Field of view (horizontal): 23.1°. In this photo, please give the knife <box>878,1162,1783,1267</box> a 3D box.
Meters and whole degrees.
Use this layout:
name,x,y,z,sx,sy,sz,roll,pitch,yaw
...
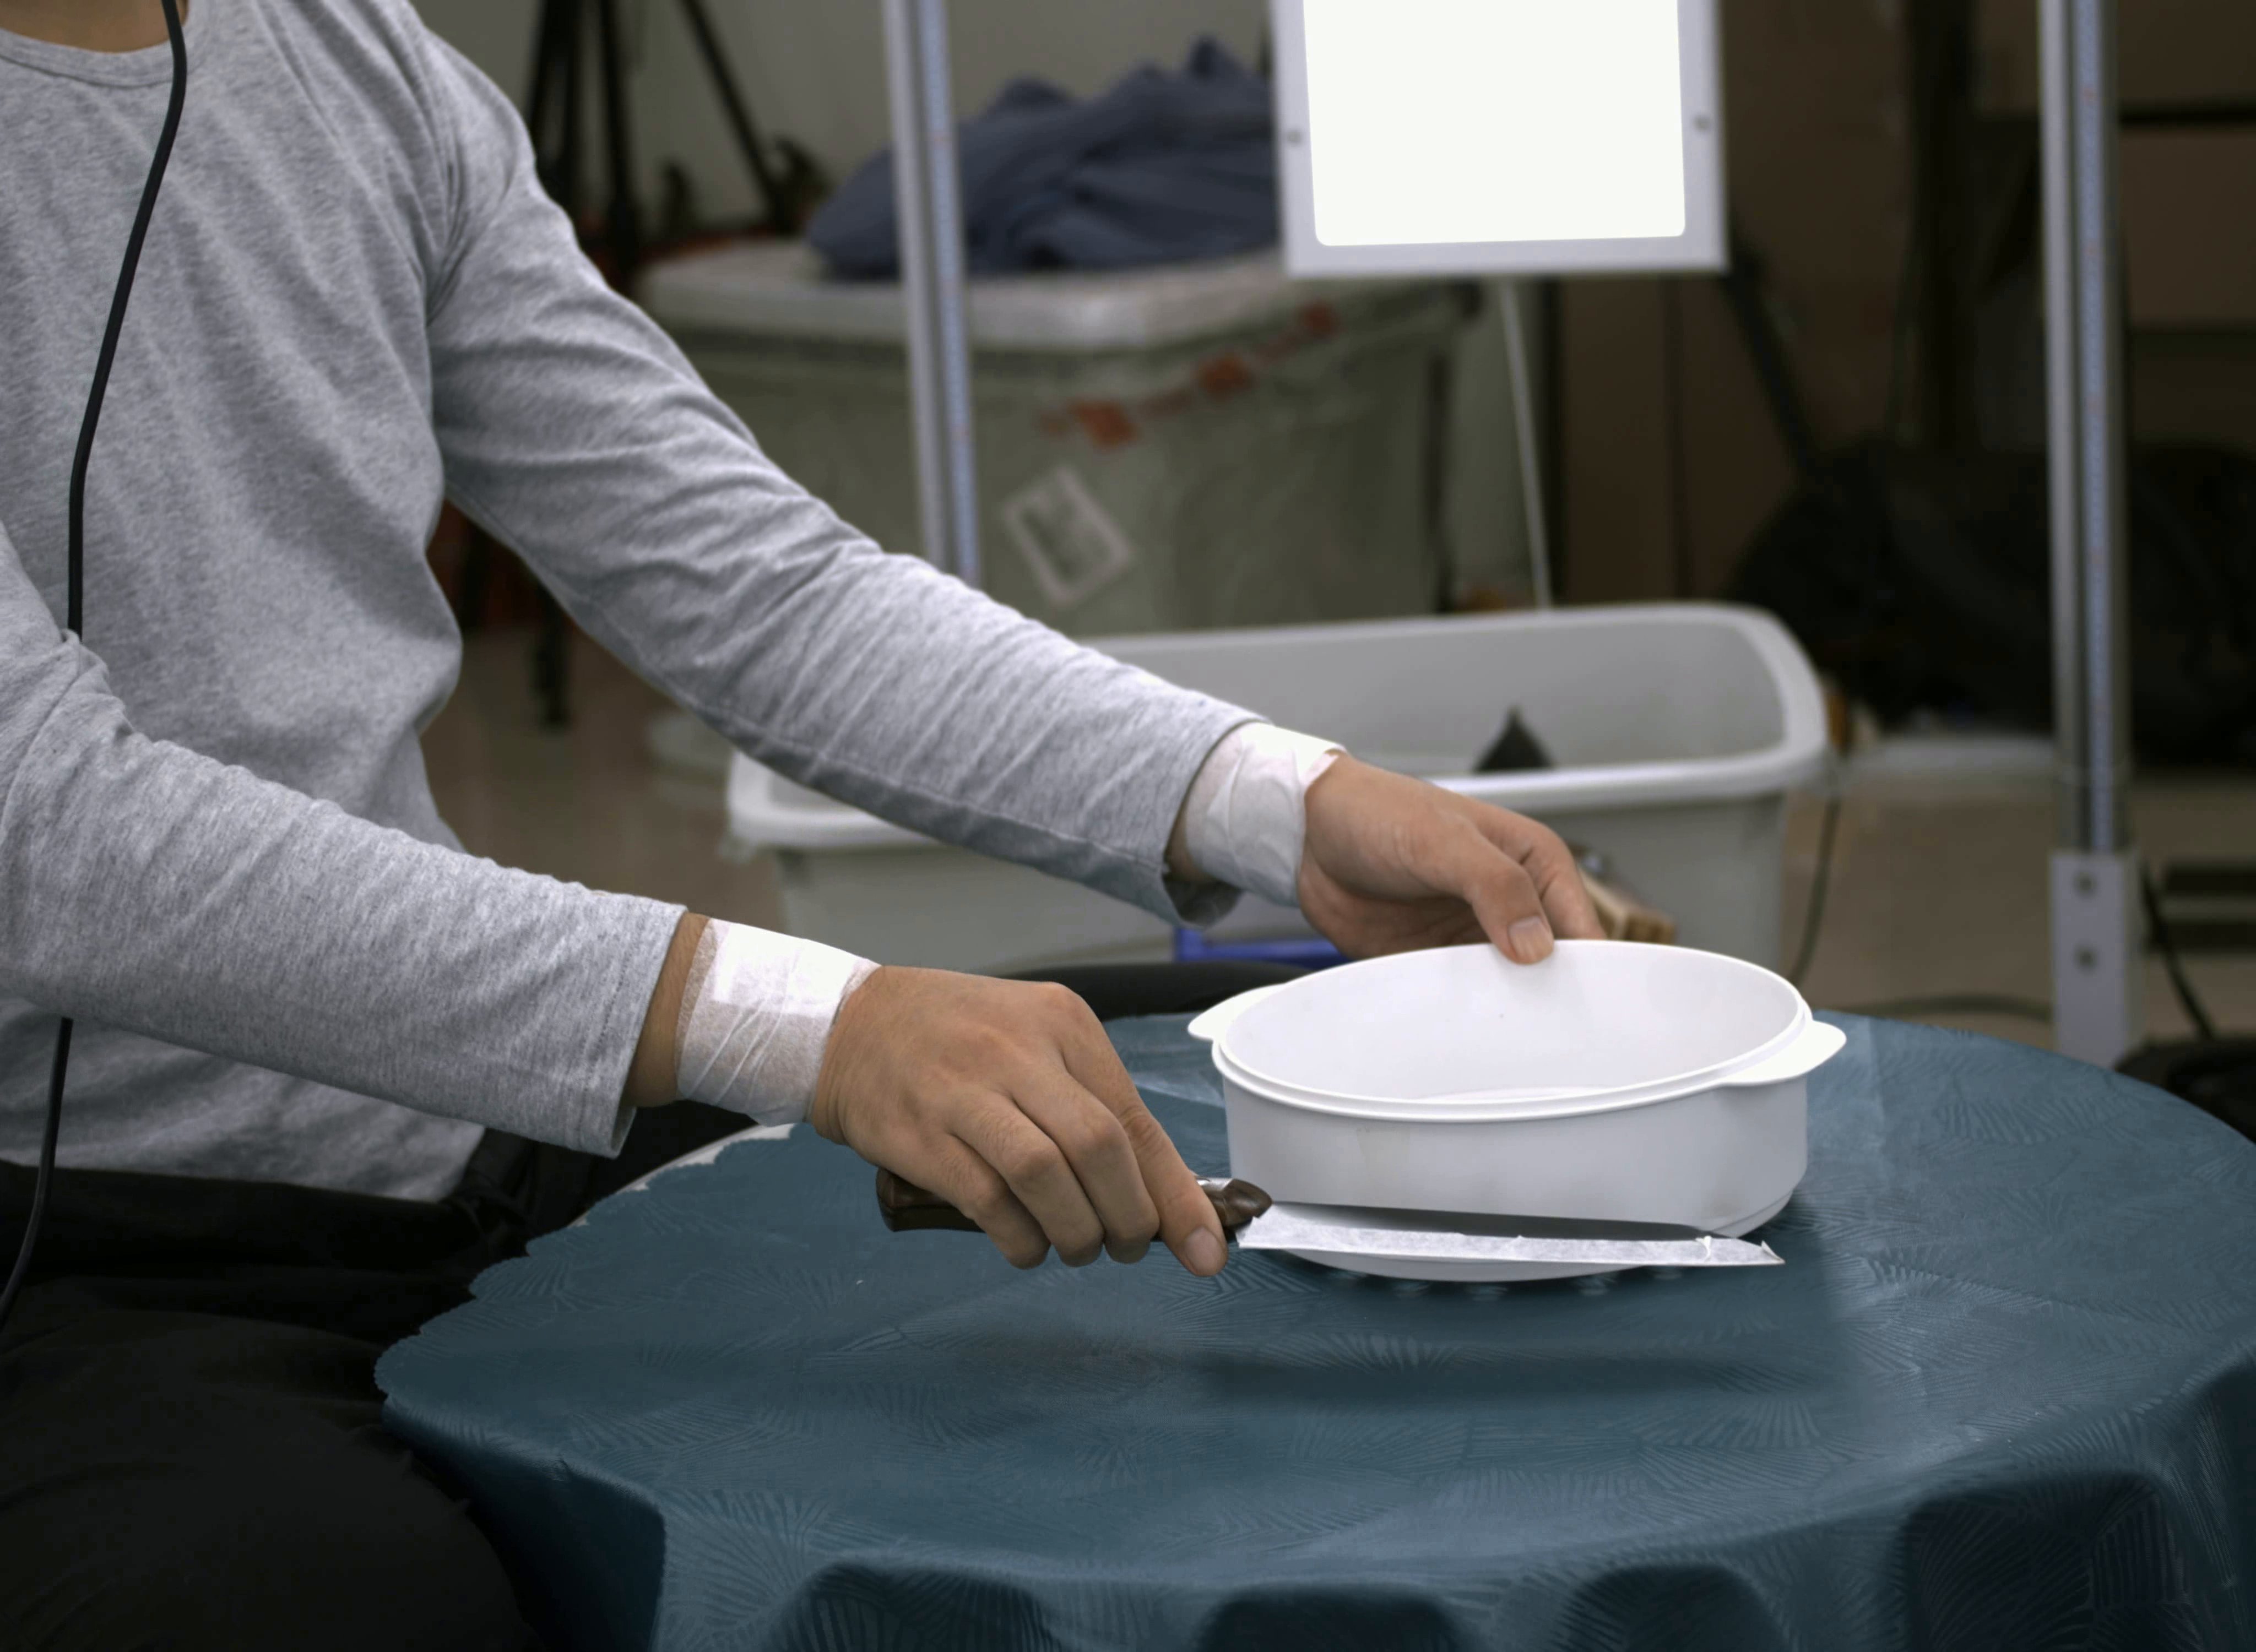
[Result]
name,x,y,z,sx,sy,sz,roll,pitch,yaw
knife,0.060,0.123,1.706,0.292,0.020,0.049,3,16,15

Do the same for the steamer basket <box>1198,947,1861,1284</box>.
name,x,y,z,sx,sy,sz,roll,pitch,yaw
steamer basket,0.134,0.096,1.837,0.235,0.069,0.197,3,15,32
